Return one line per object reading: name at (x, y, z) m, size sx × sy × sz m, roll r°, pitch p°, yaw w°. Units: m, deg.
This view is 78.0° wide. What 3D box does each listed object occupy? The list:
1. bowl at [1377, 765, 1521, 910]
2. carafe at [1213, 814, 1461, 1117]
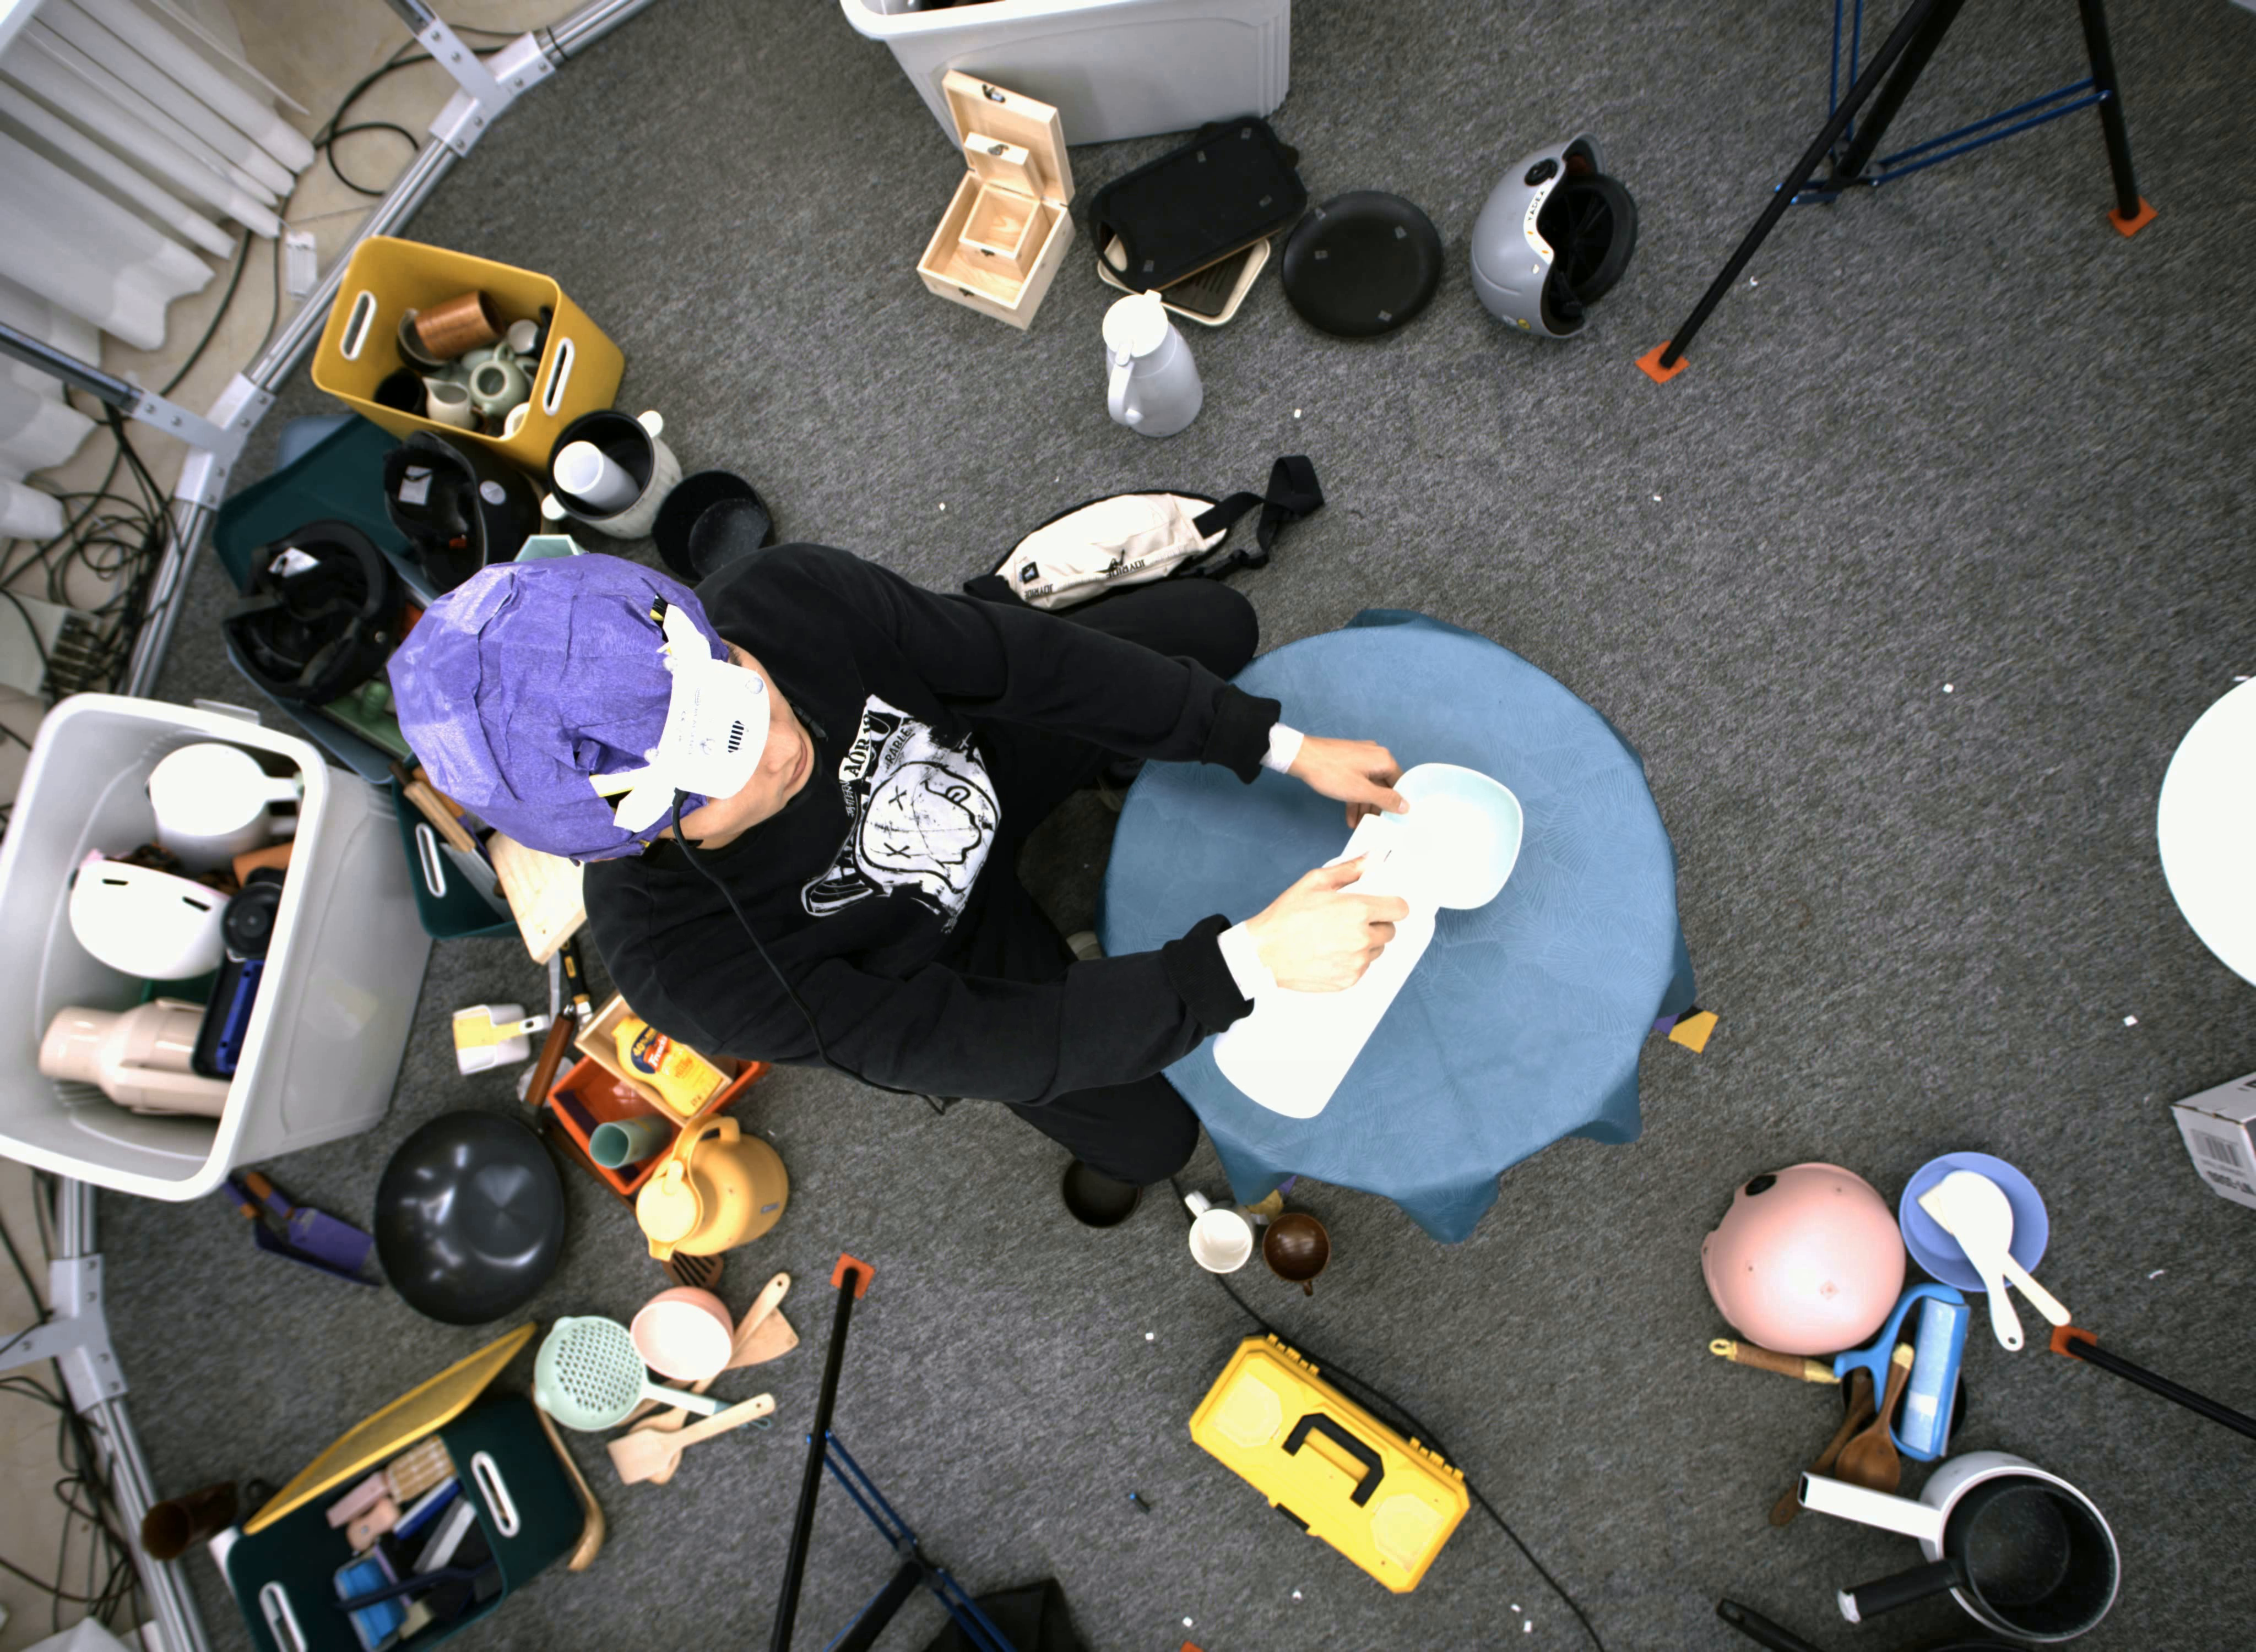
bowl at (0.319, 0.011, 1.383) m, size 0.152 × 0.058 × 0.151 m, roll 0°, pitch 89°, yaw 10°
carafe at (0.183, 0.128, 1.235) m, size 0.123 × 0.170 × 0.273 m, roll 35°, pitch 109°, yaw 11°
